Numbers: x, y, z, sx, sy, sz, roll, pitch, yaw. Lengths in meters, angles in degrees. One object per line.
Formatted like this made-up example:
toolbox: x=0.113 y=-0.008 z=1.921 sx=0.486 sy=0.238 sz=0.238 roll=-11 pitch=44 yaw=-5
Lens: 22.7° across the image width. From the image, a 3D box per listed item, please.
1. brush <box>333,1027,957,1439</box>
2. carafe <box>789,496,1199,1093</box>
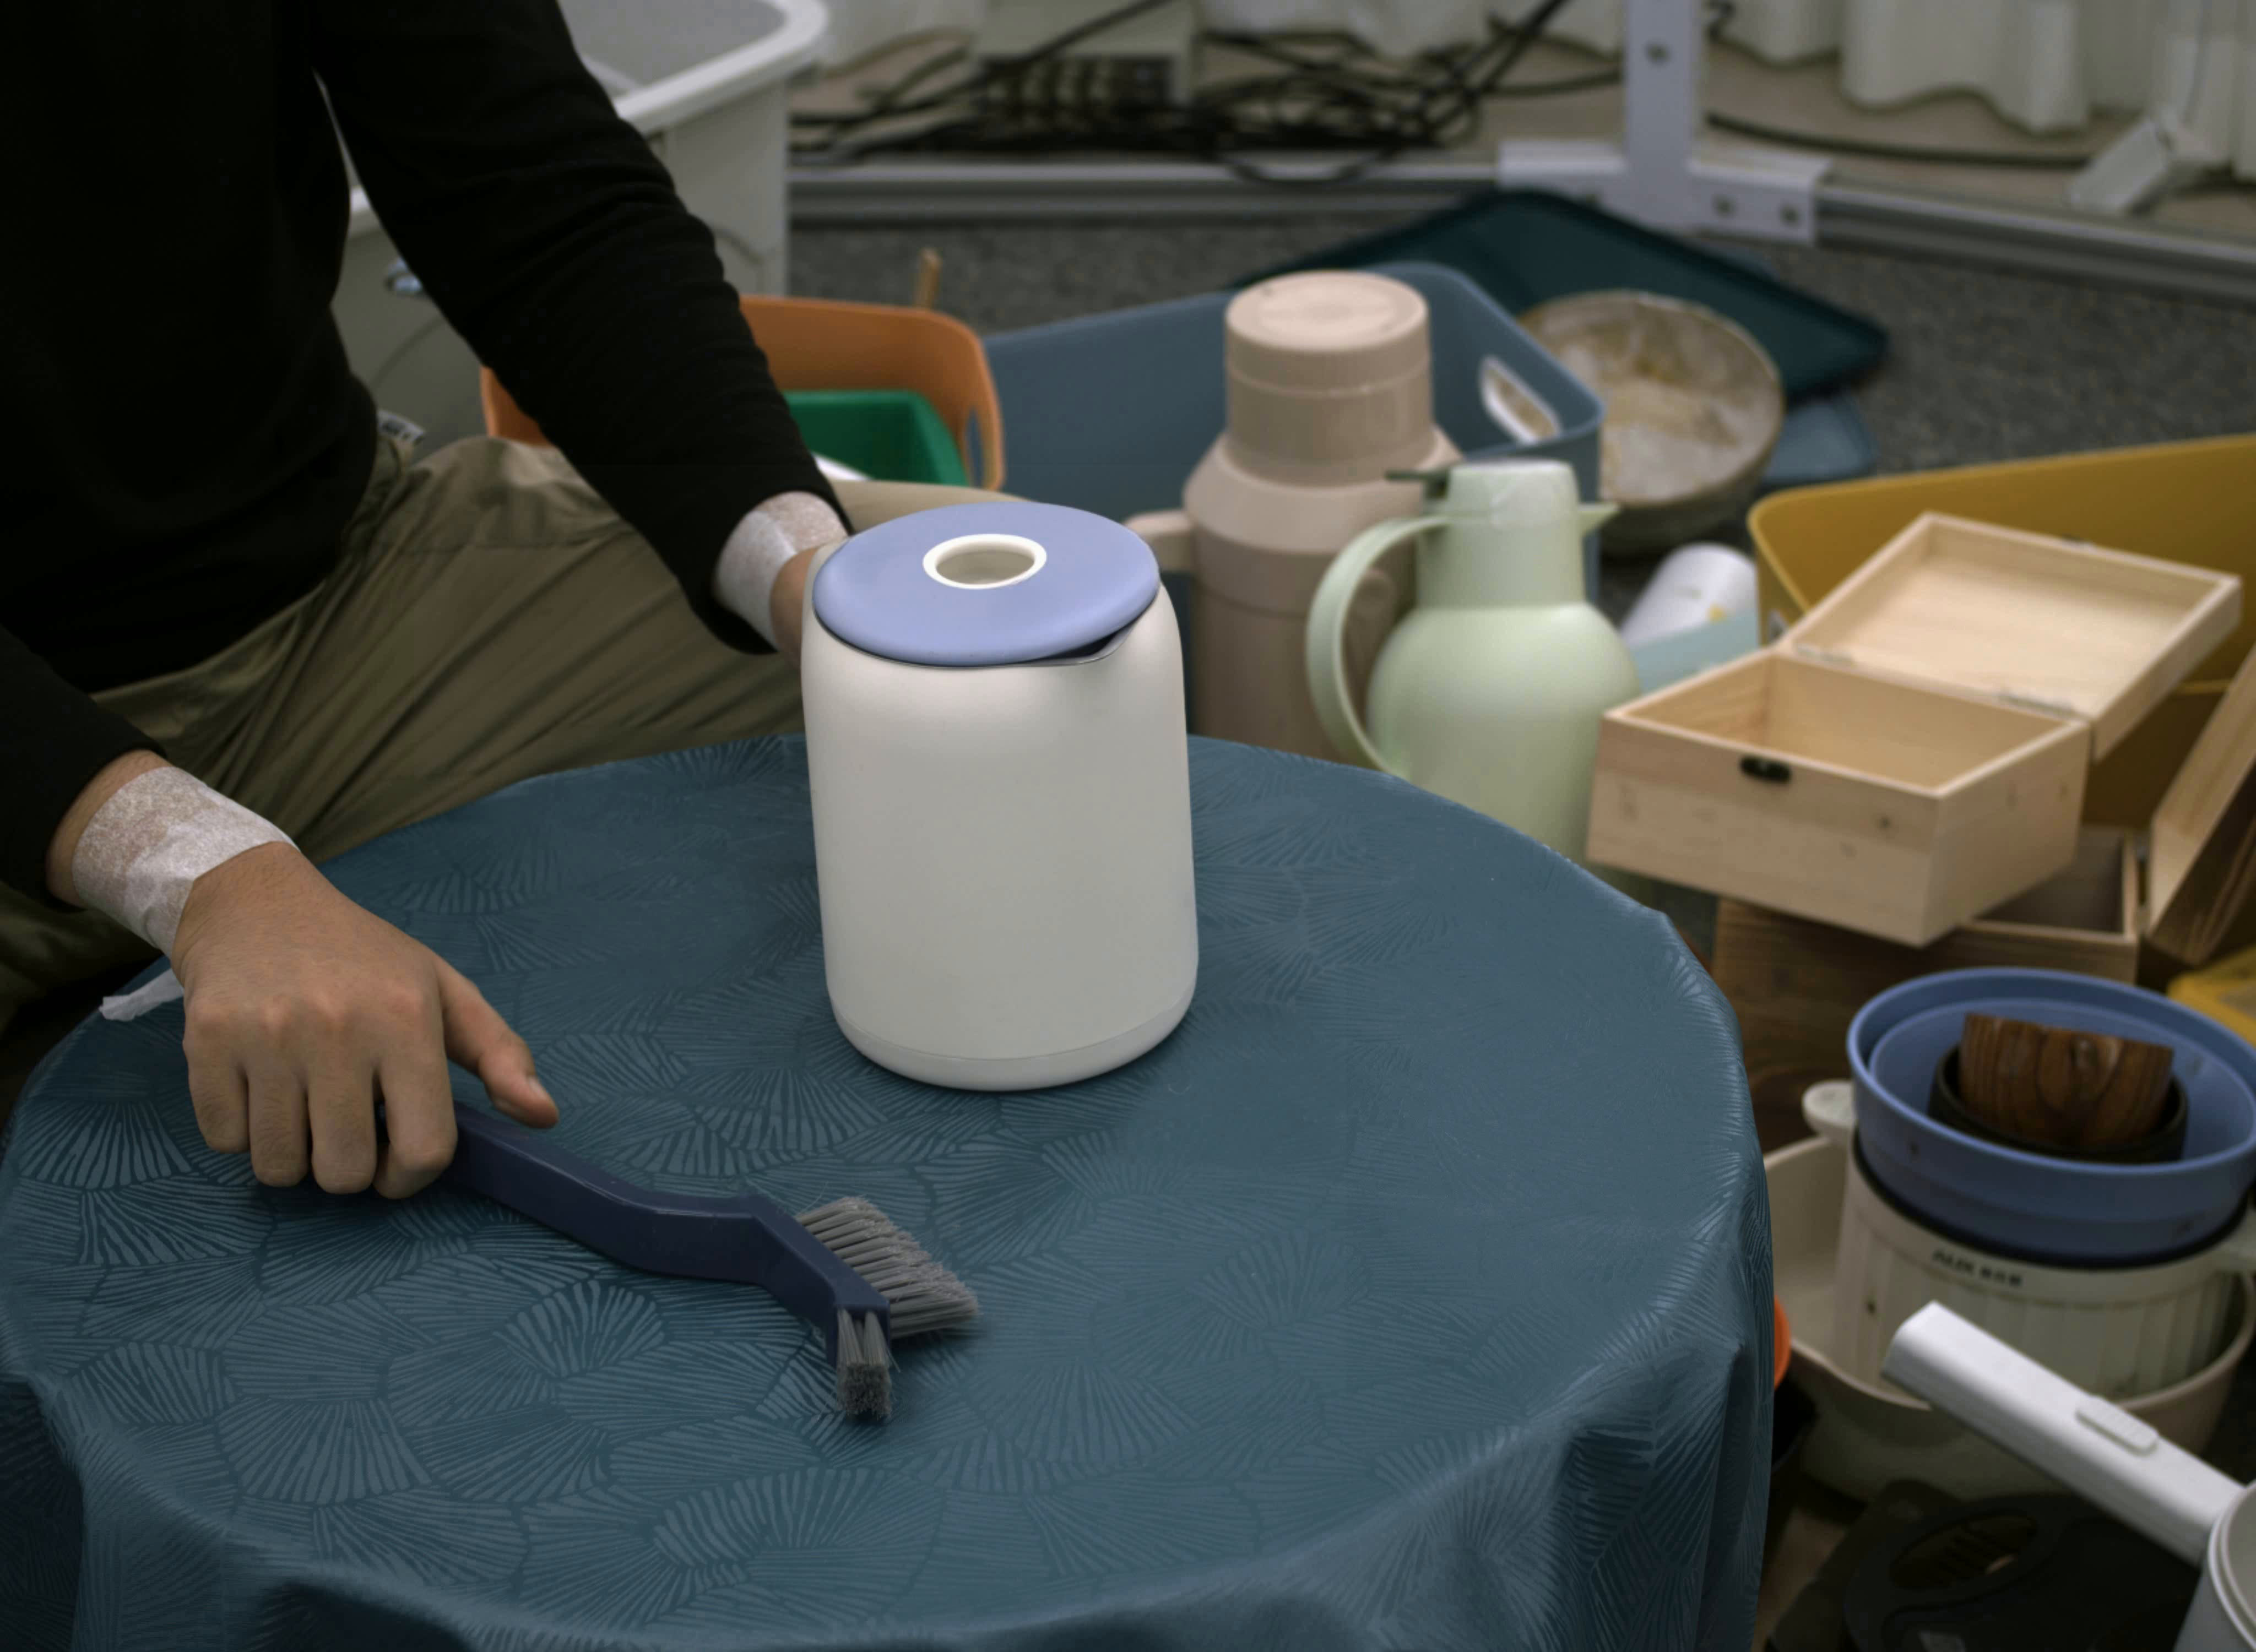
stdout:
brush: x=-0.174 y=0.129 z=1.833 sx=0.272 sy=0.033 sz=0.097 roll=16 pitch=35 yaw=31
carafe: x=-0.058 y=-0.020 z=1.956 sx=0.133 sy=0.181 sz=0.191 roll=-20 pitch=30 yaw=-32
